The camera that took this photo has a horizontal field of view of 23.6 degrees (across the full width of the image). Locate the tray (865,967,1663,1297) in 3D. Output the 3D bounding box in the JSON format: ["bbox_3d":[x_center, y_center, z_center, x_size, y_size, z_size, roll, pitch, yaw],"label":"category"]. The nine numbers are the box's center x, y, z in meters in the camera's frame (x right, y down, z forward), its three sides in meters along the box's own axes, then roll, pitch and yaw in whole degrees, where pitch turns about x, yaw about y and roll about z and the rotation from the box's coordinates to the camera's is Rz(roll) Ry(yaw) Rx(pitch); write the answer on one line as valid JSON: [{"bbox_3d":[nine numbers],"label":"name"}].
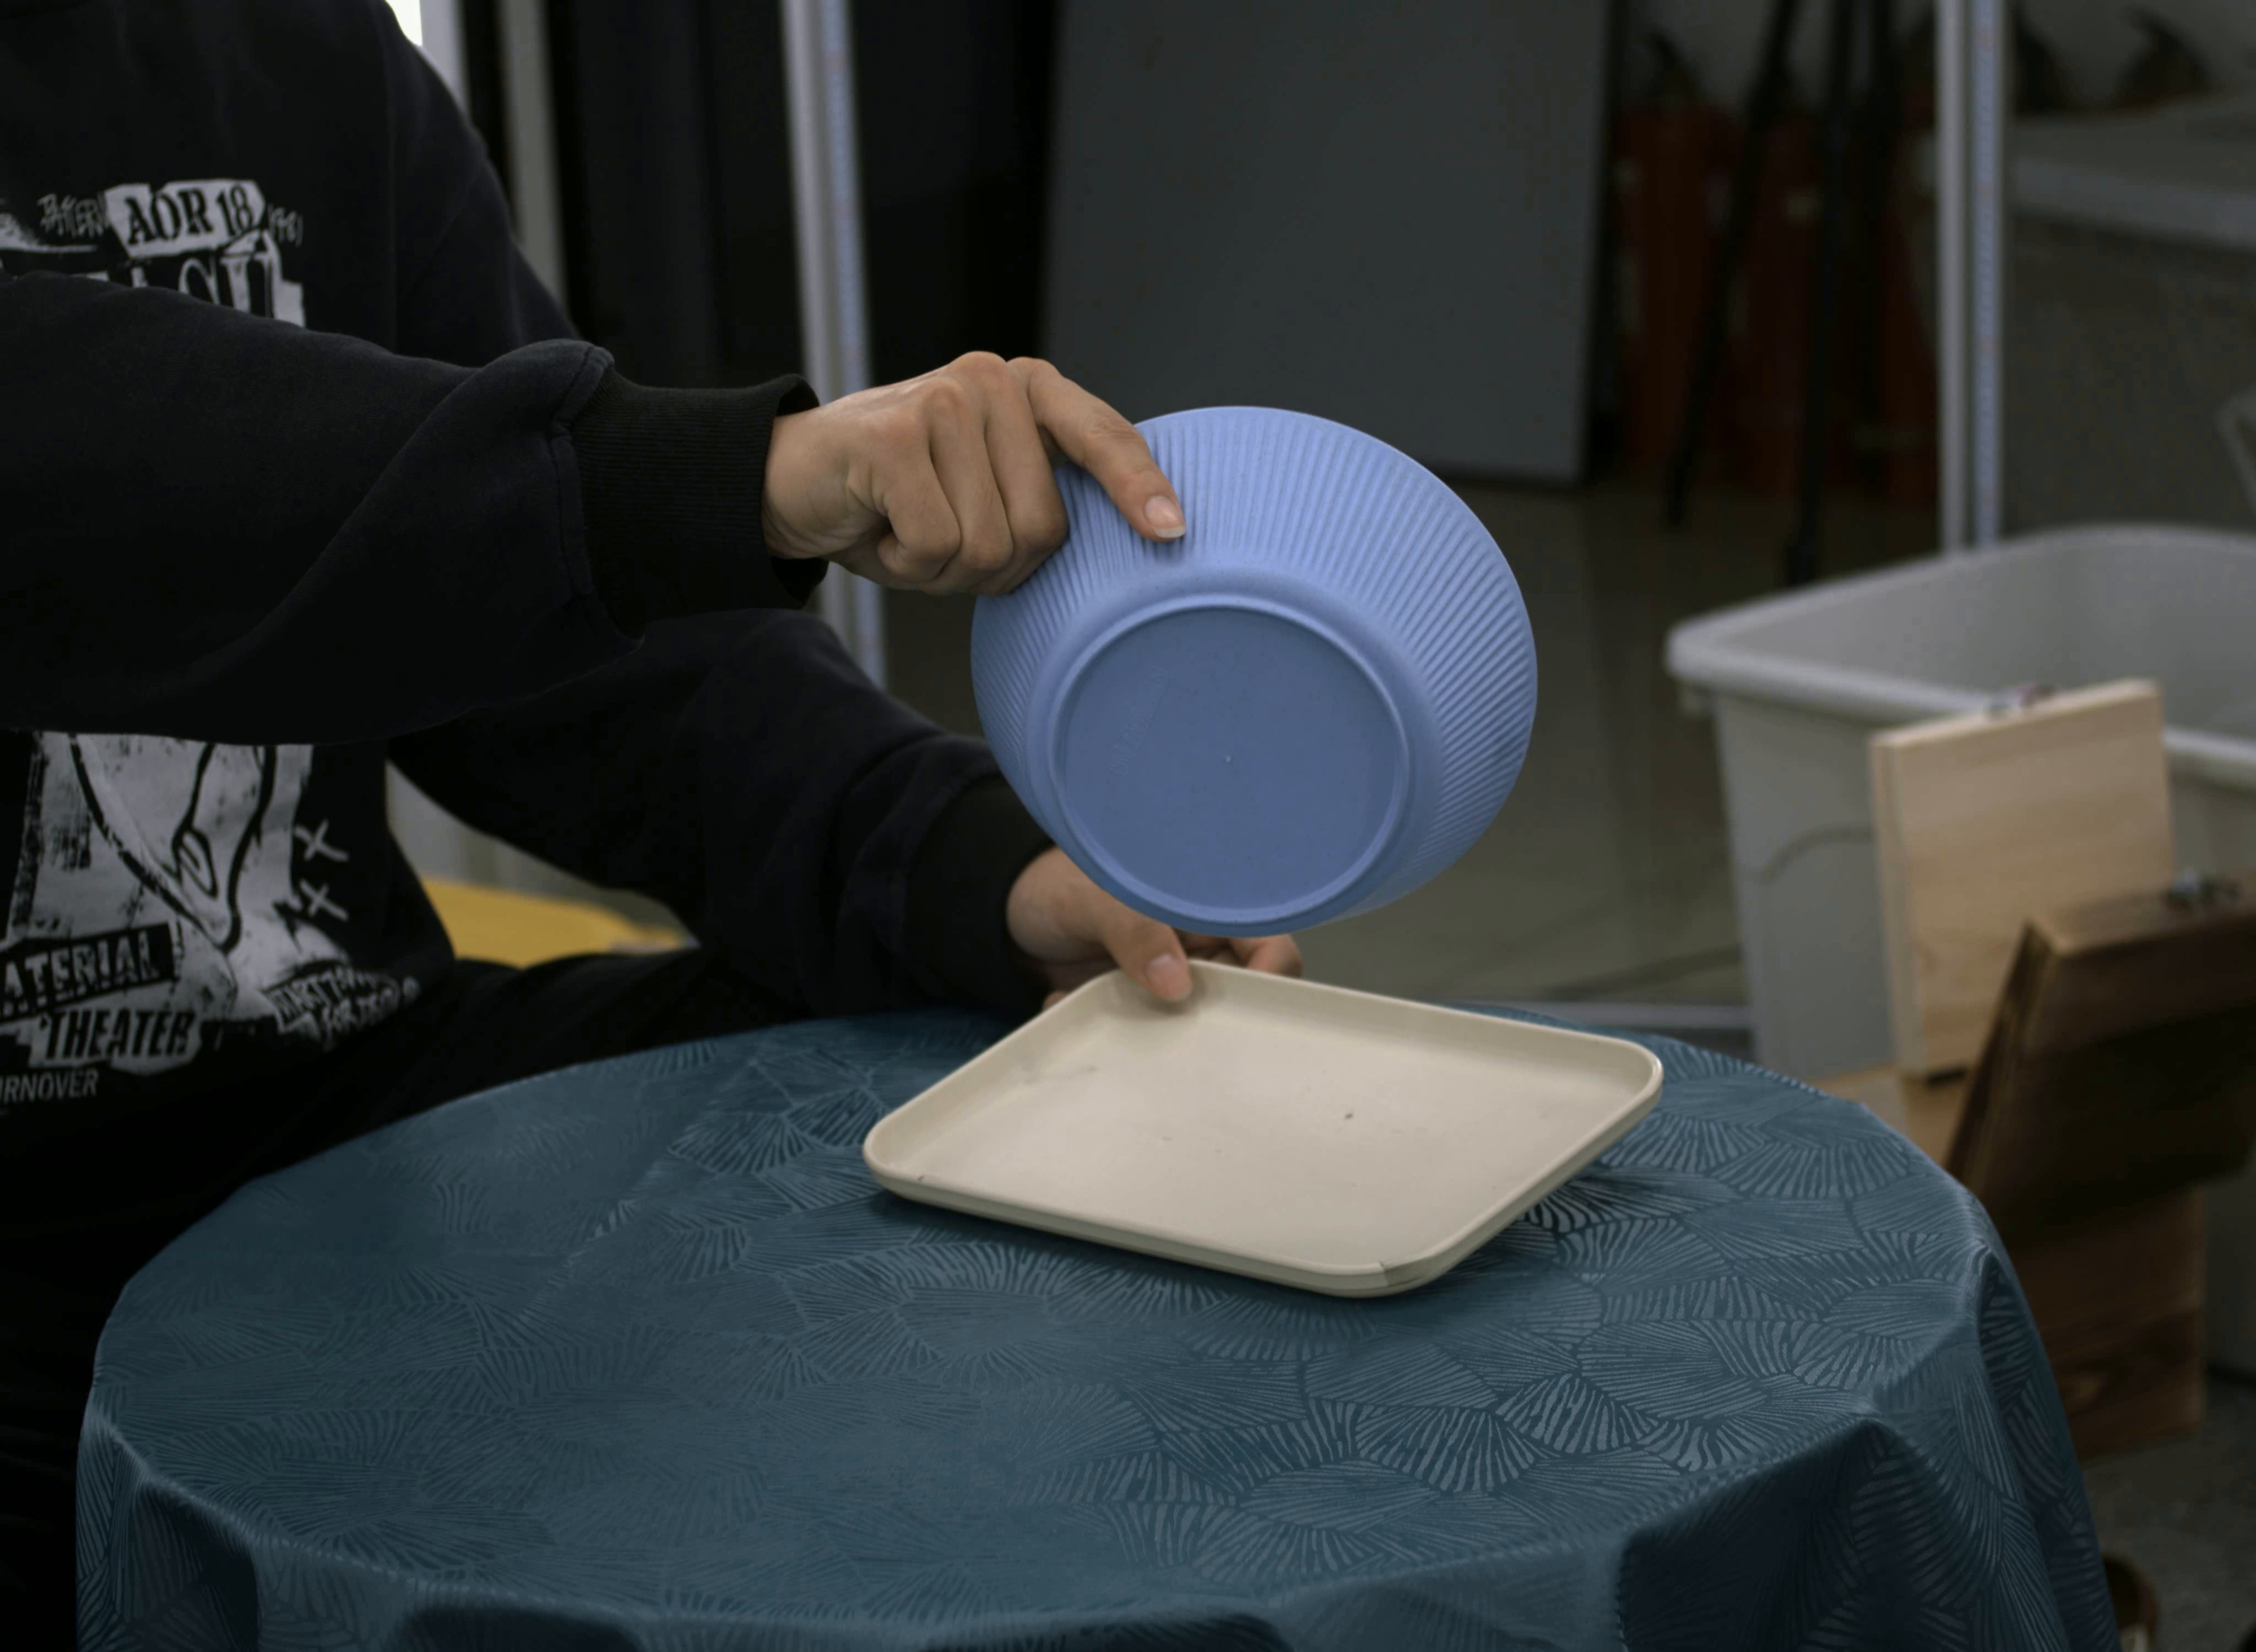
[{"bbox_3d":[0.044,0.099,1.760,0.241,0.017,0.168,8,28,40],"label":"tray"}]

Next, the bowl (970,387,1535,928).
[{"bbox_3d":[0.034,-0.037,1.615,0.175,0.177,0.070,-1,26,10],"label":"bowl"}]
